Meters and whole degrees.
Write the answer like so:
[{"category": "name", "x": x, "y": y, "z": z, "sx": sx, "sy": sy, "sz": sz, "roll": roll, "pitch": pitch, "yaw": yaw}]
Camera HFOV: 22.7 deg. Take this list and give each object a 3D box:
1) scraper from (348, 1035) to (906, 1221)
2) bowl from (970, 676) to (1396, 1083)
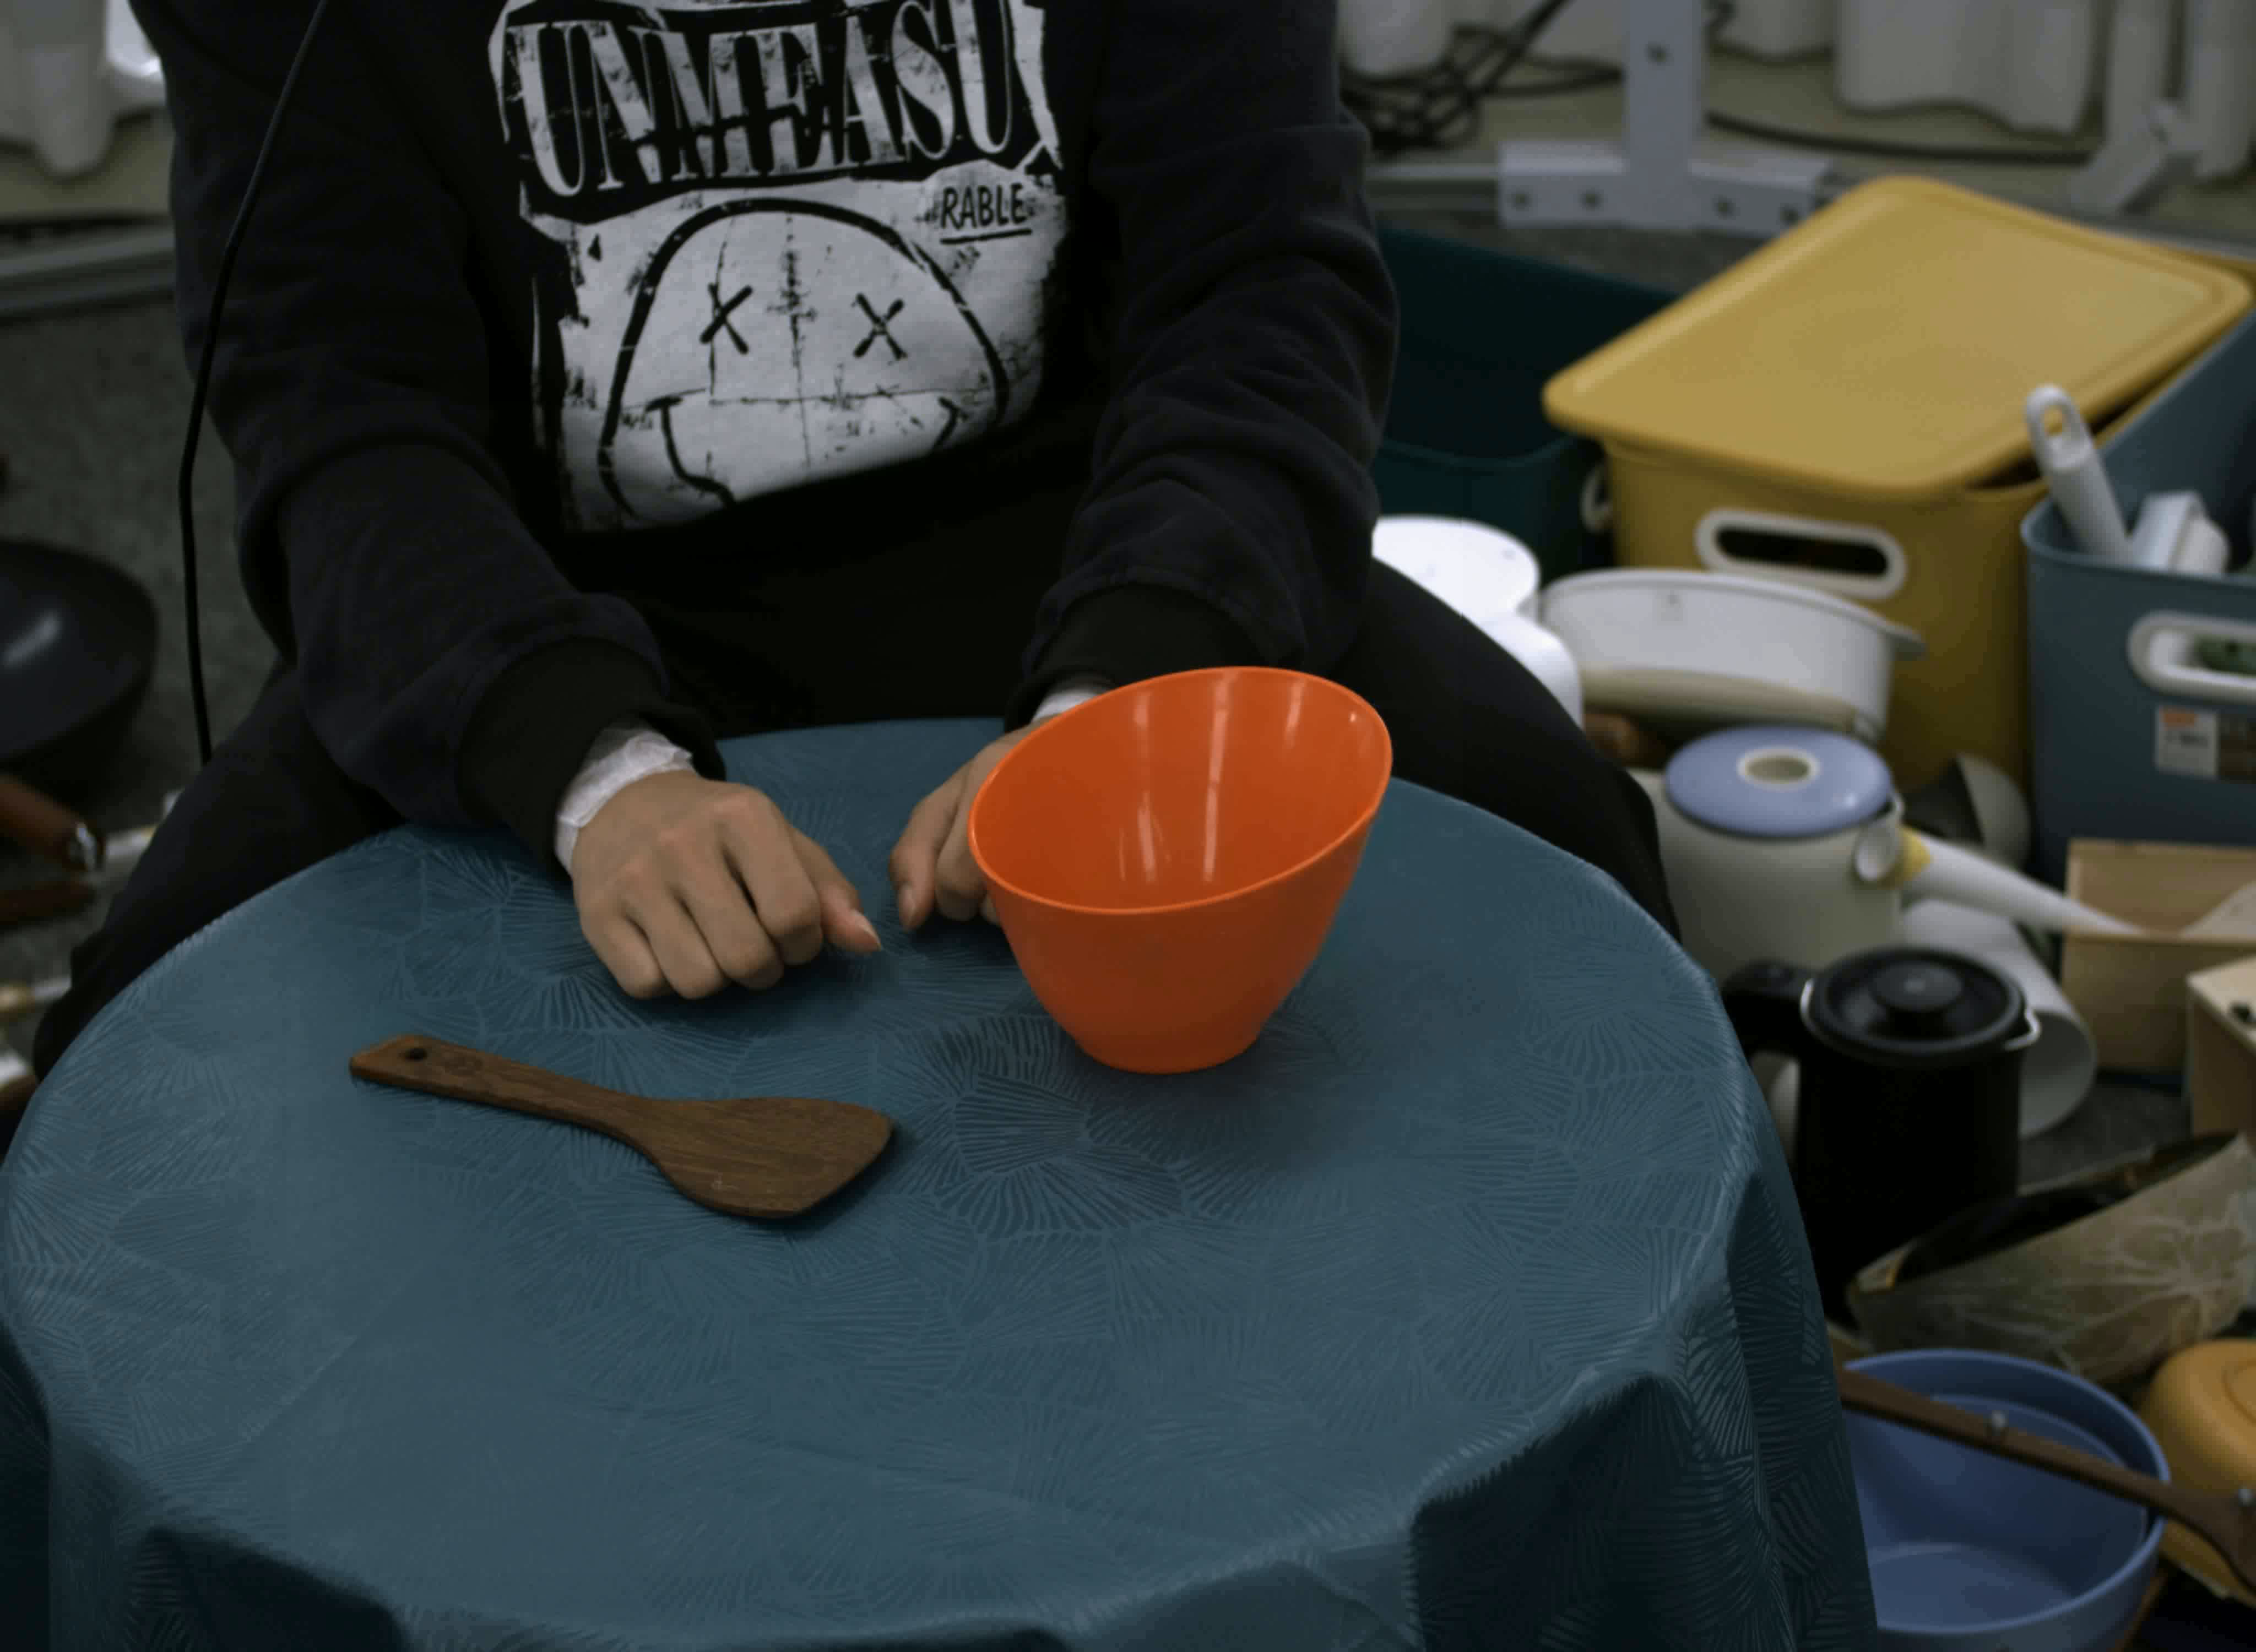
[{"category": "scraper", "x": -0.177, "y": 0.099, "z": 1.915, "sx": 0.210, "sy": 0.011, "sz": 0.077, "roll": 12, "pitch": 30, "yaw": 28}, {"category": "bowl", "x": 0.021, "y": 0.025, "z": 1.939, "sx": 0.147, "sy": 0.103, "sz": 0.150, "roll": -2, "pitch": 27, "yaw": 1}]
